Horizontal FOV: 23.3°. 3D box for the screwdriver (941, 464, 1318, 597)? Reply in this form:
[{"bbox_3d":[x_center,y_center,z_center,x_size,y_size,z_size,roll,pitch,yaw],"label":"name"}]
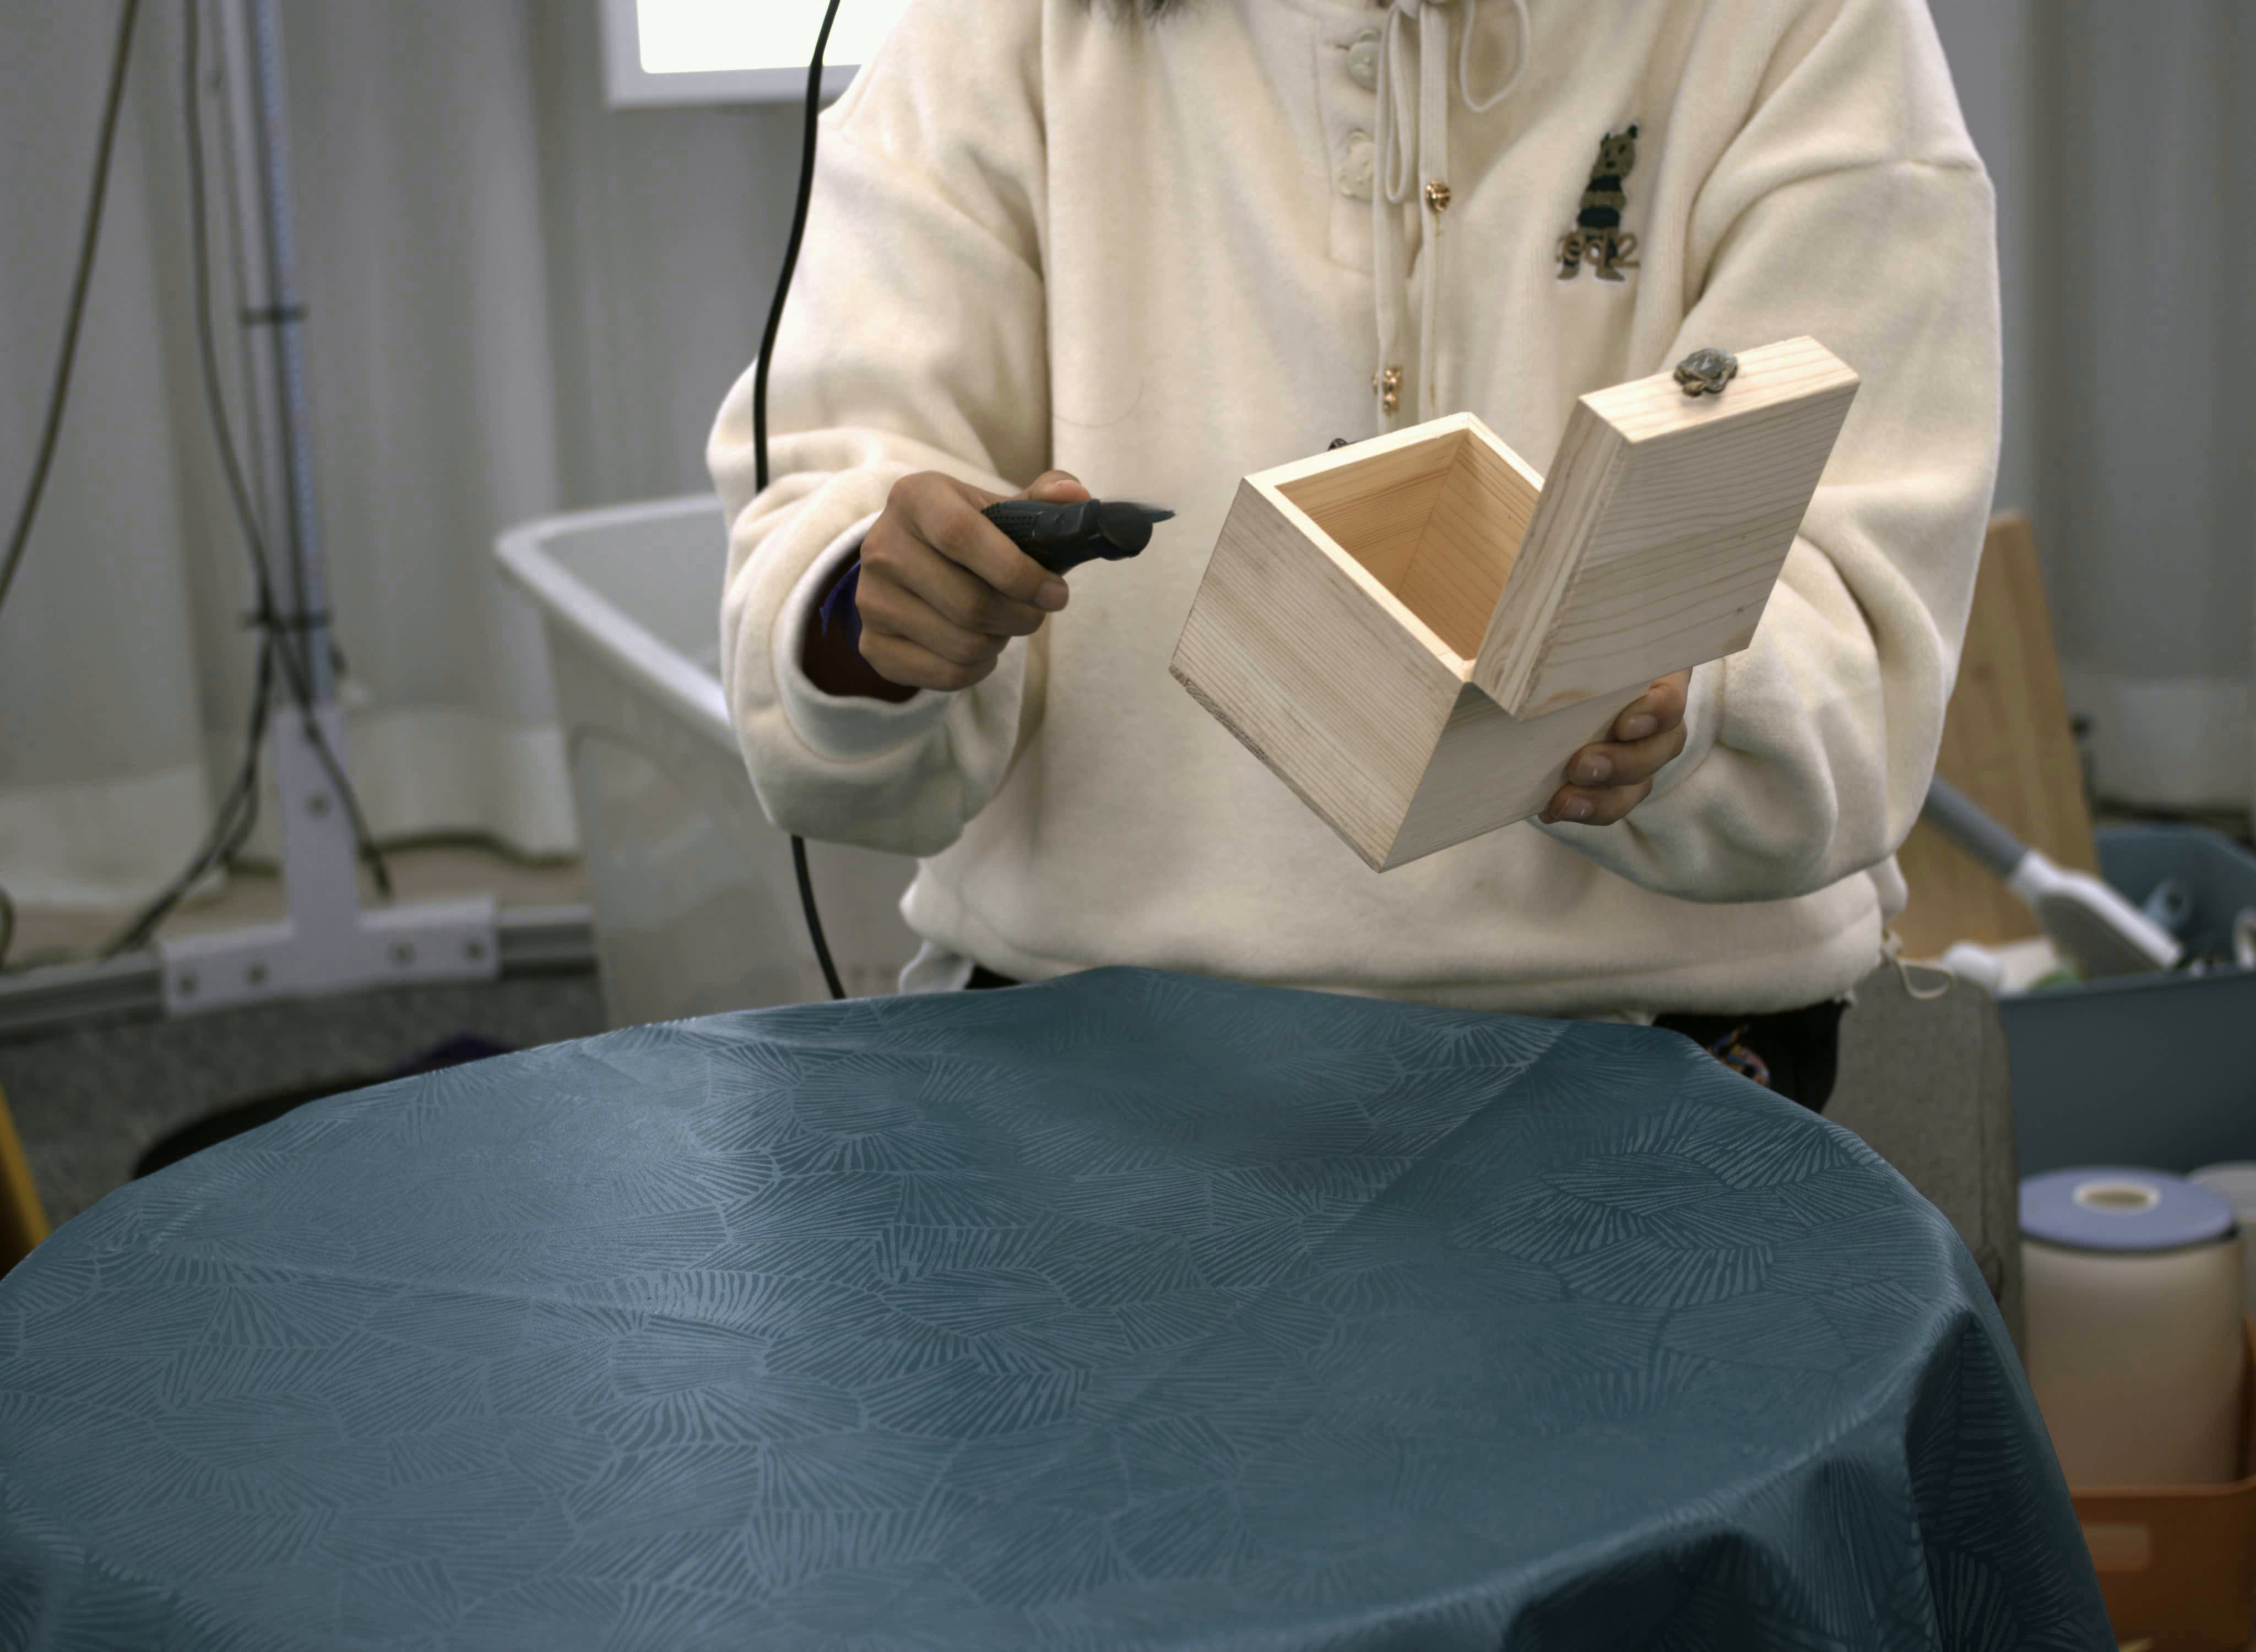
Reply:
[{"bbox_3d":[0.000,-0.095,1.753,0.031,0.031,0.198,-12,4,-34],"label":"screwdriver"}]

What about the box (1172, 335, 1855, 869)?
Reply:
[{"bbox_3d":[0.111,-0.091,1.637,0.102,0.182,0.135,-18,52,-40],"label":"box"}]
